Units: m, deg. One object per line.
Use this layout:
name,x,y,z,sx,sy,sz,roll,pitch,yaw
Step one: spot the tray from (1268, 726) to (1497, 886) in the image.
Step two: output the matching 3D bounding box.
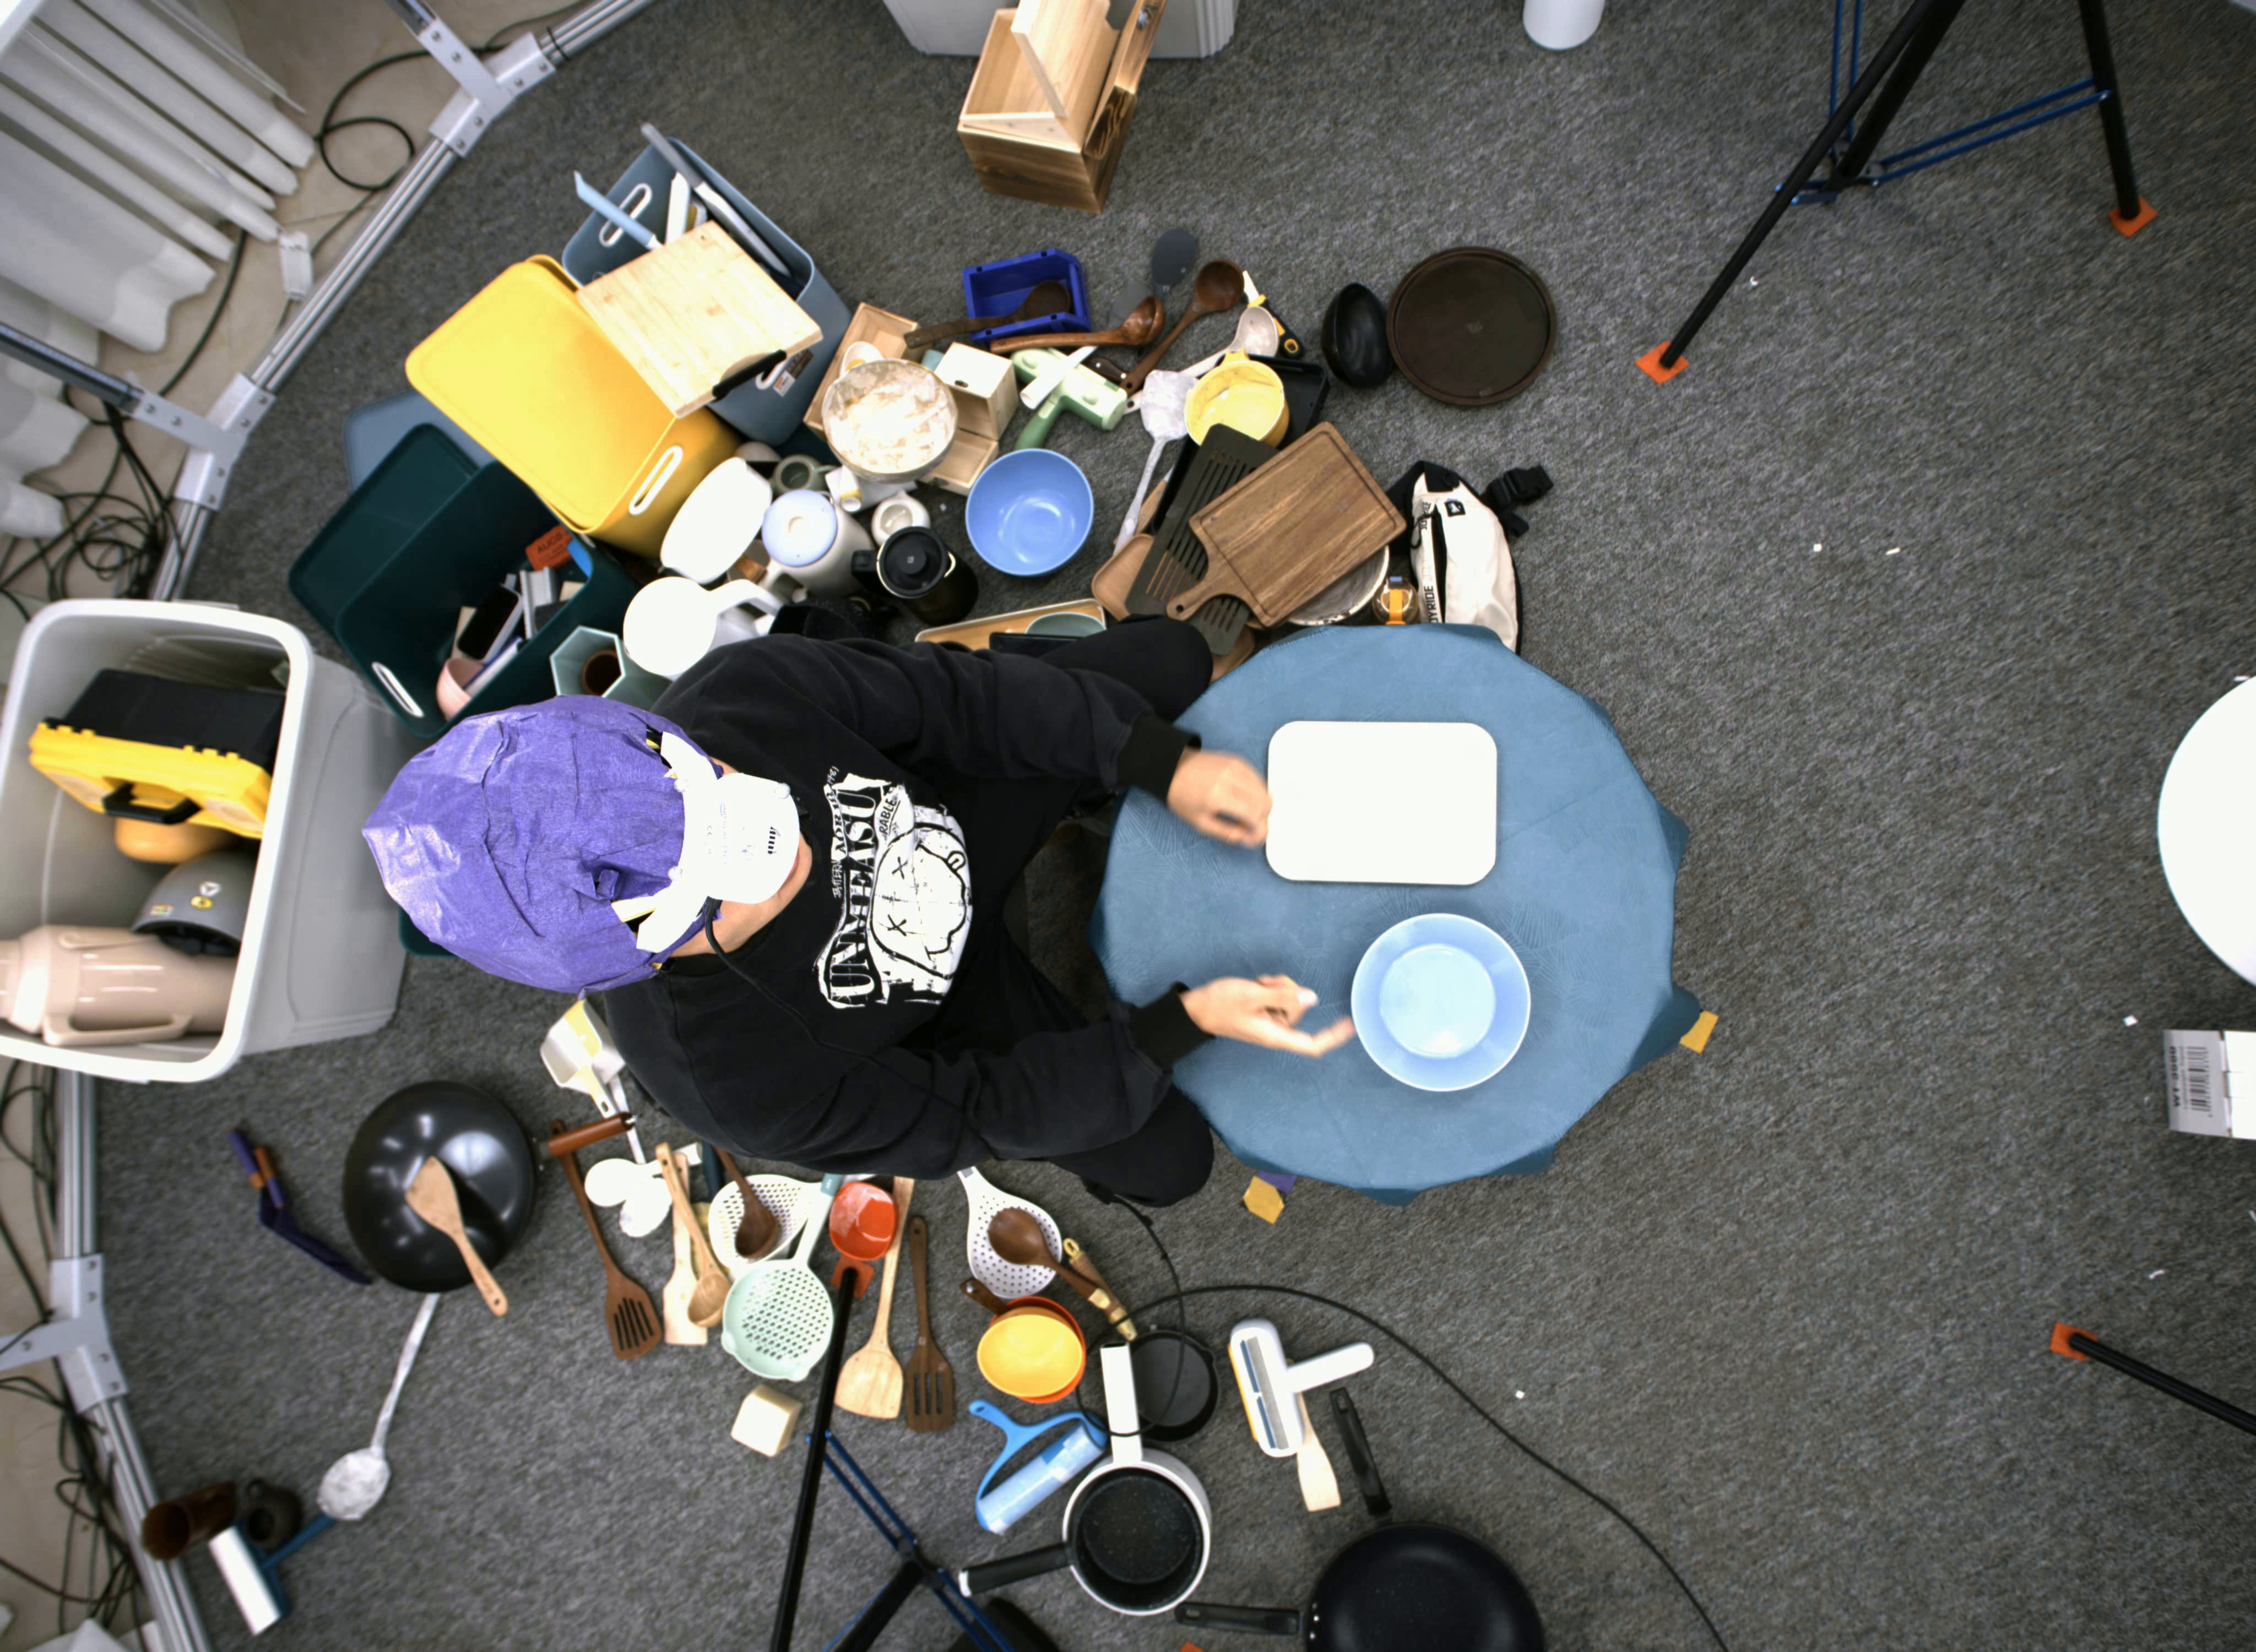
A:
tray,0.270,-0.023,1.462,0.240,0.017,0.170,1,86,10

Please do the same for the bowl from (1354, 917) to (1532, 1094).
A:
bowl,0.320,0.182,1.412,0.177,0.070,0.175,-1,85,10
